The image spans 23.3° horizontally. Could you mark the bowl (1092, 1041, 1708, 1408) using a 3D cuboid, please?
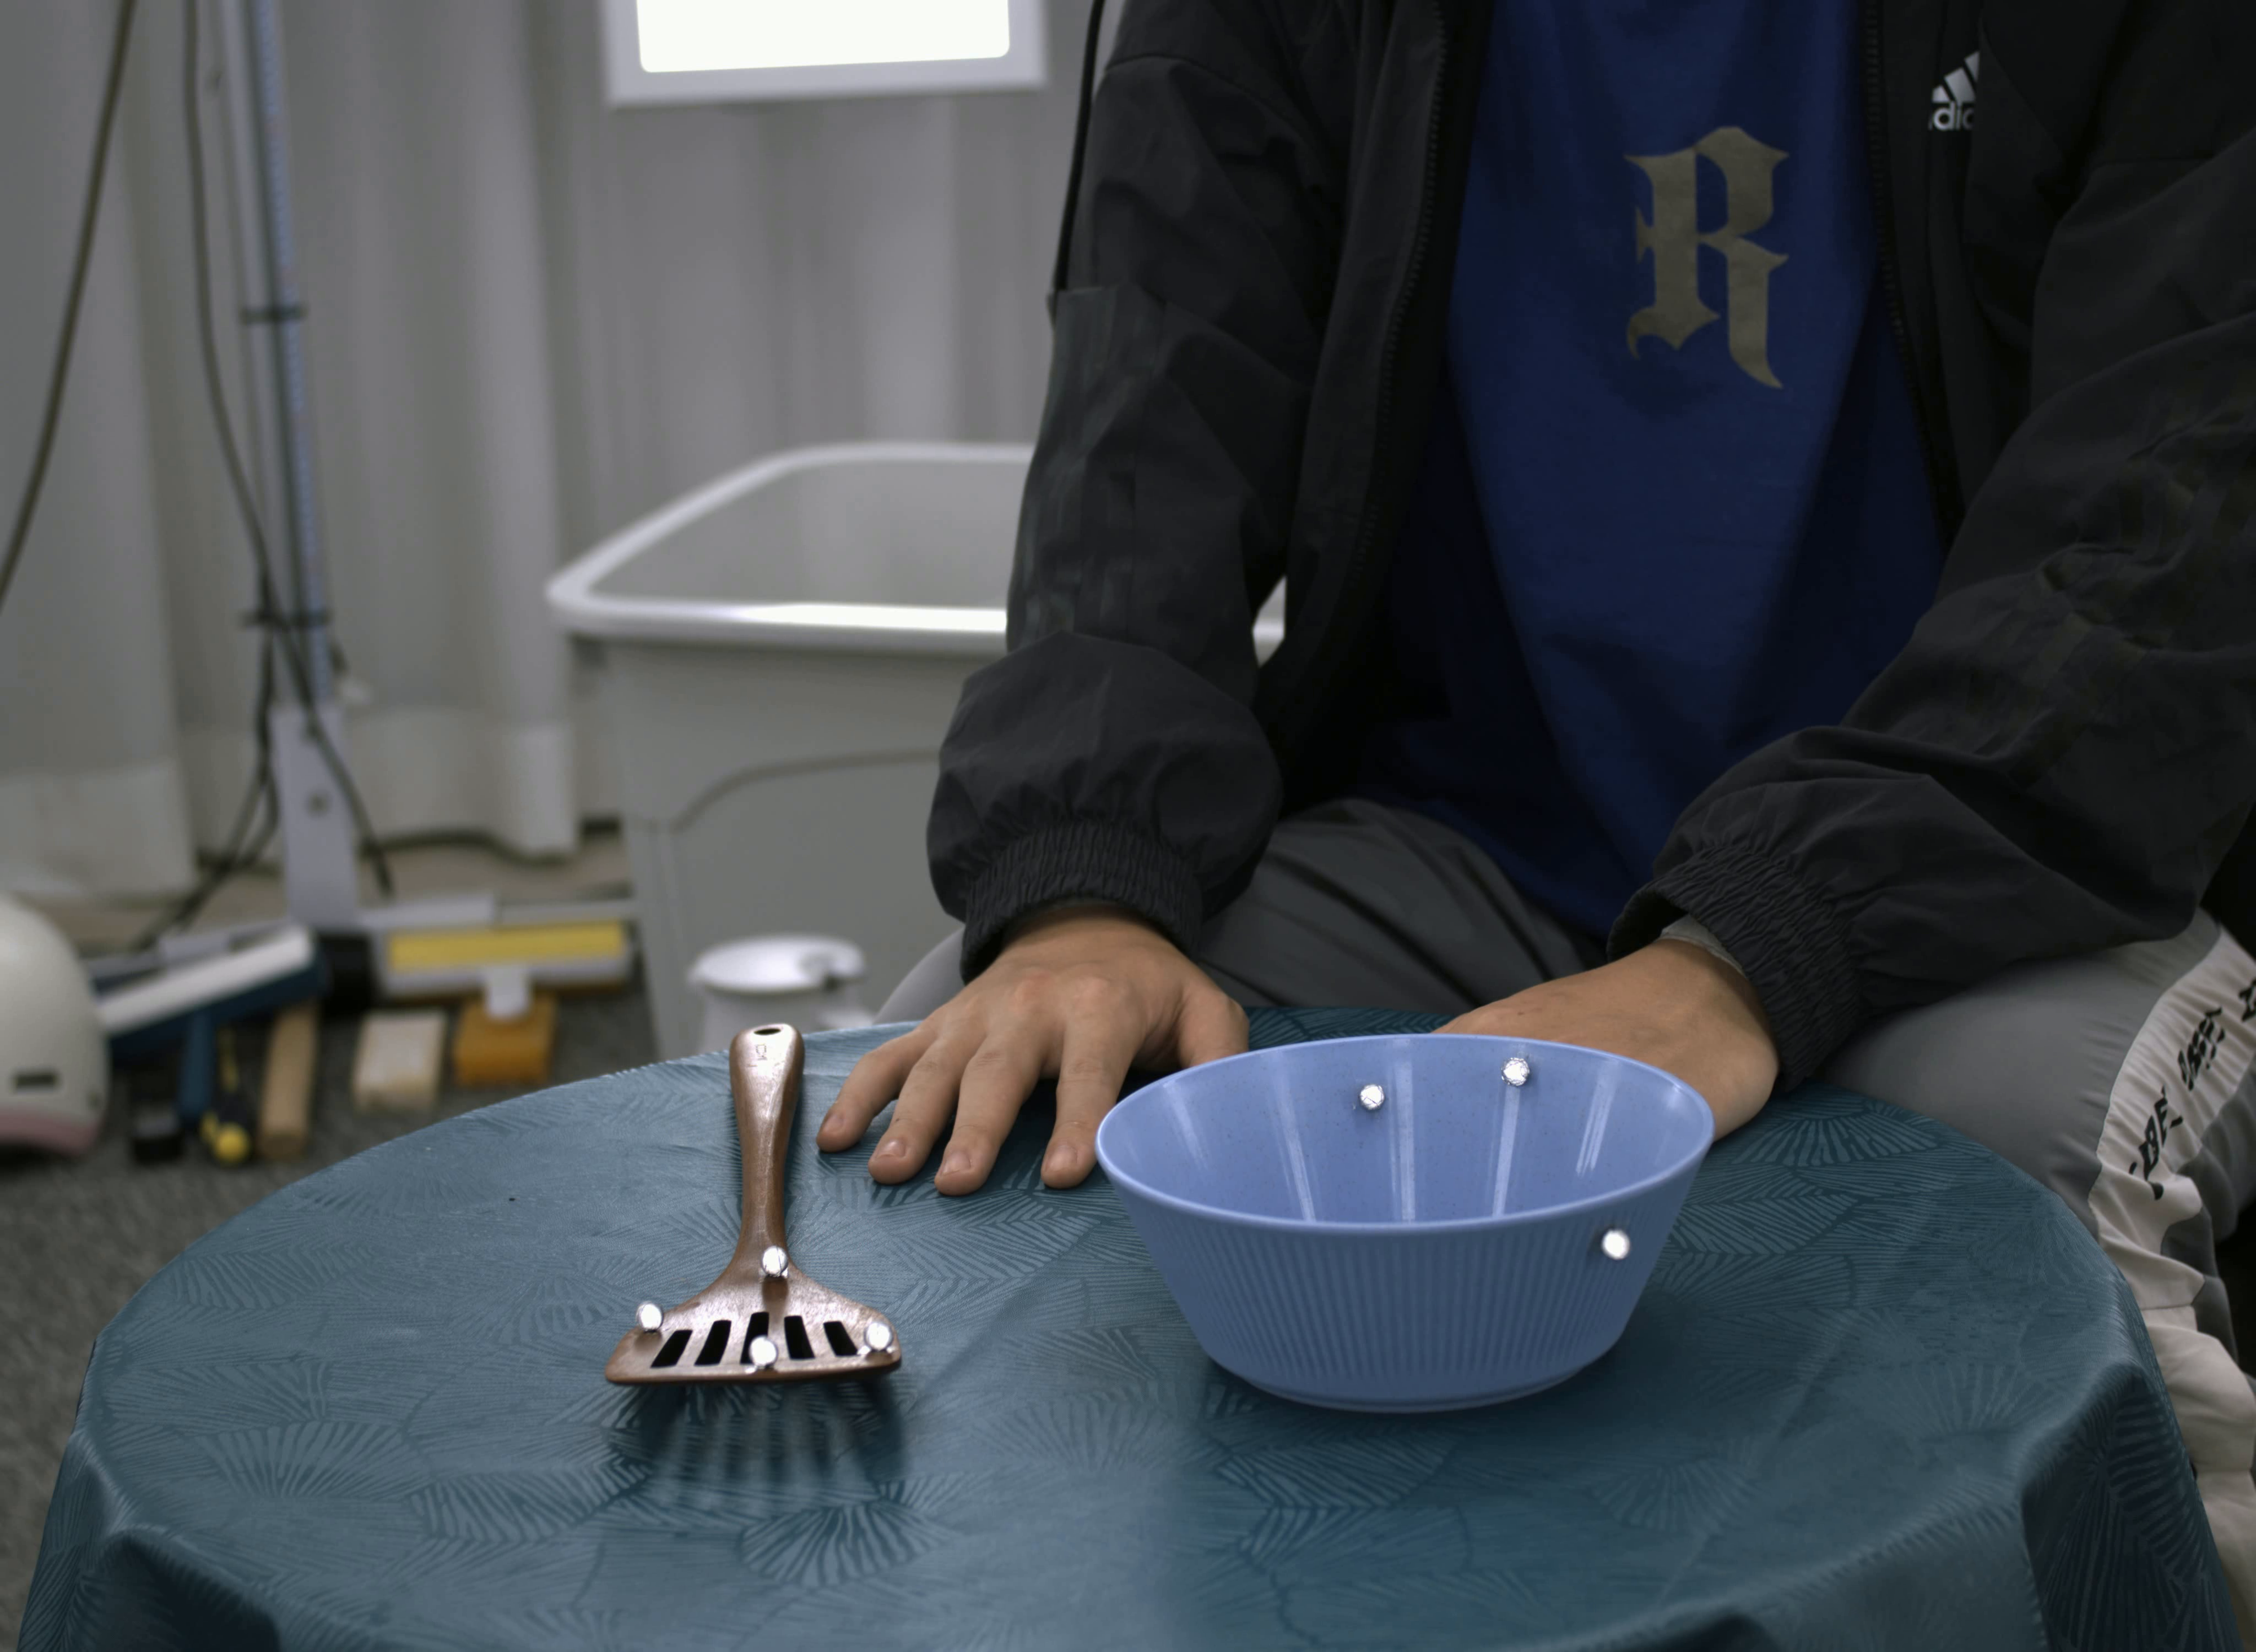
[{"bbox_3d":[0.078,0.116,1.555,0.175,0.070,0.177,-2,13,0],"label":"bowl"}]

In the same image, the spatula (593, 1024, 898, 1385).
[{"bbox_3d":[-0.112,0.117,1.684,0.085,0.024,0.389,-2,13,-2],"label":"spatula"}]
